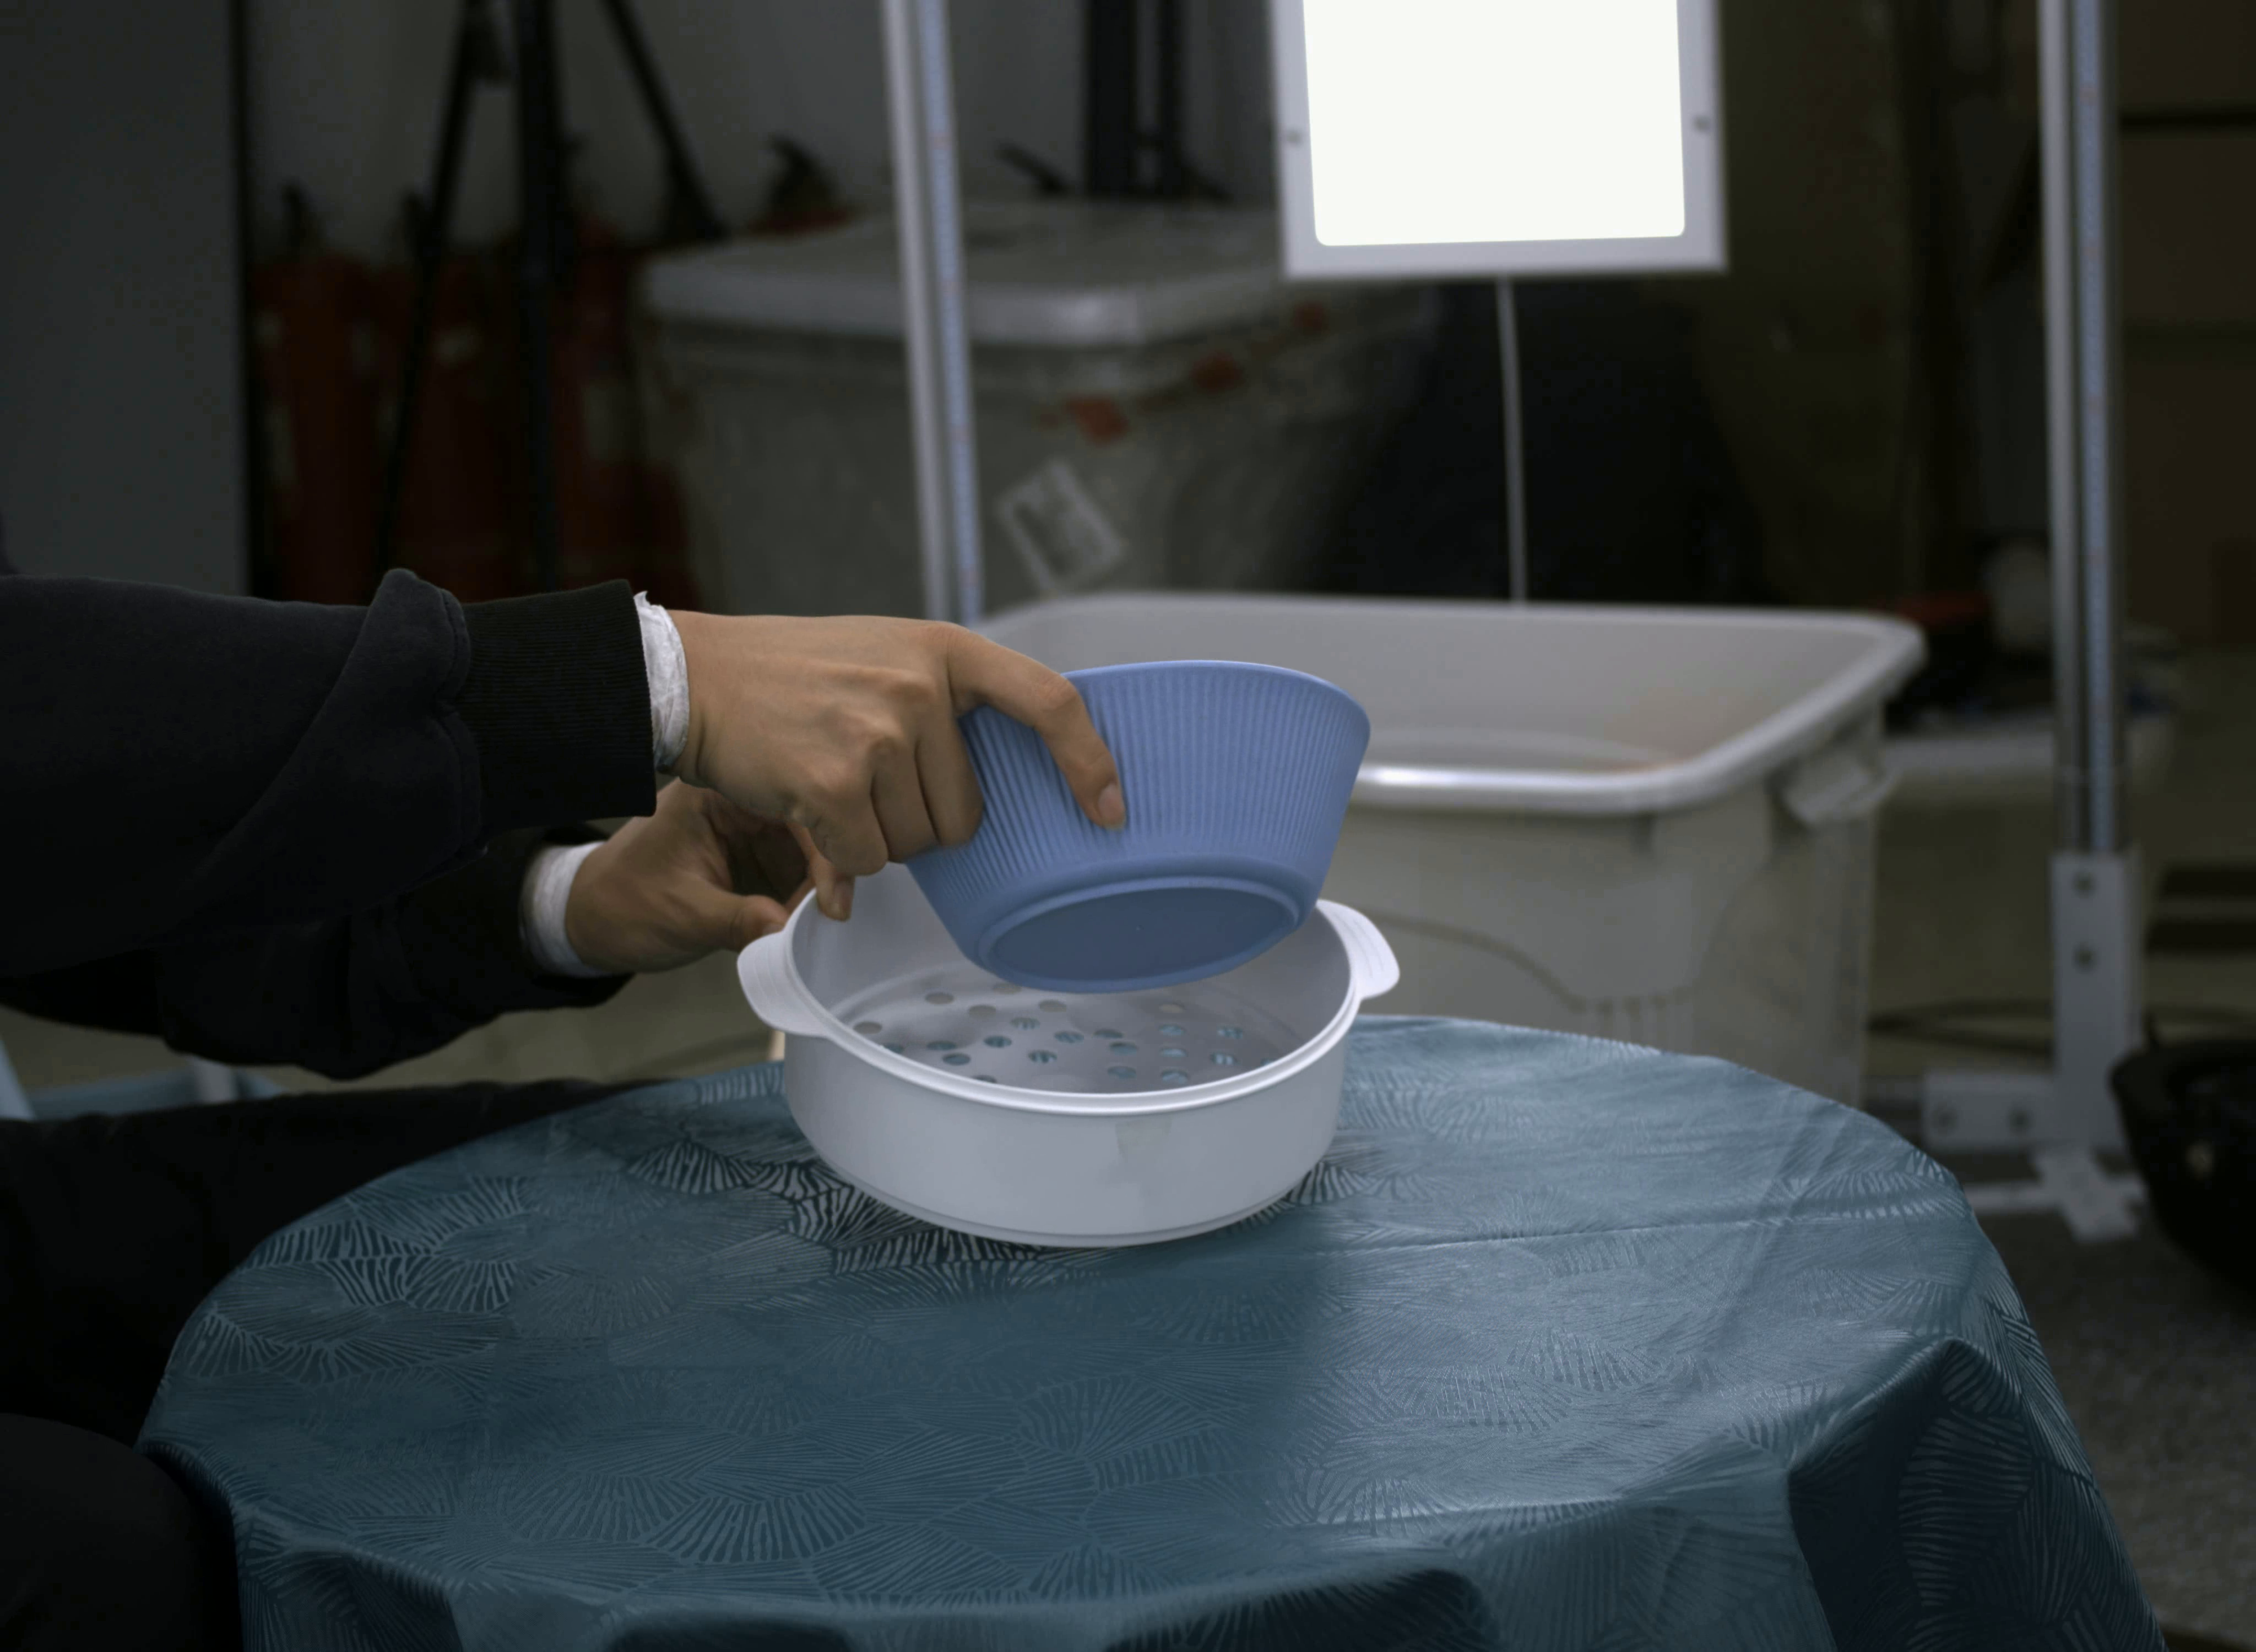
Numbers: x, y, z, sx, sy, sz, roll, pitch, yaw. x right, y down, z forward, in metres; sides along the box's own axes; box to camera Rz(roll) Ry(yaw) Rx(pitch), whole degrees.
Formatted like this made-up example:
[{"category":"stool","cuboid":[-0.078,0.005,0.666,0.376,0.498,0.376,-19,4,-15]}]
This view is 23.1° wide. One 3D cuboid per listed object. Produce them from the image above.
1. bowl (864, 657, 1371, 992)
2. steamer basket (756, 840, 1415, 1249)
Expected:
[{"category":"bowl","cuboid":[0.001,0.006,1.870,0.175,0.070,0.177,-6,-20,-4]},{"category":"steamer basket","cuboid":[-0.016,0.071,1.904,0.227,0.070,0.203,-2,28,-15]}]
